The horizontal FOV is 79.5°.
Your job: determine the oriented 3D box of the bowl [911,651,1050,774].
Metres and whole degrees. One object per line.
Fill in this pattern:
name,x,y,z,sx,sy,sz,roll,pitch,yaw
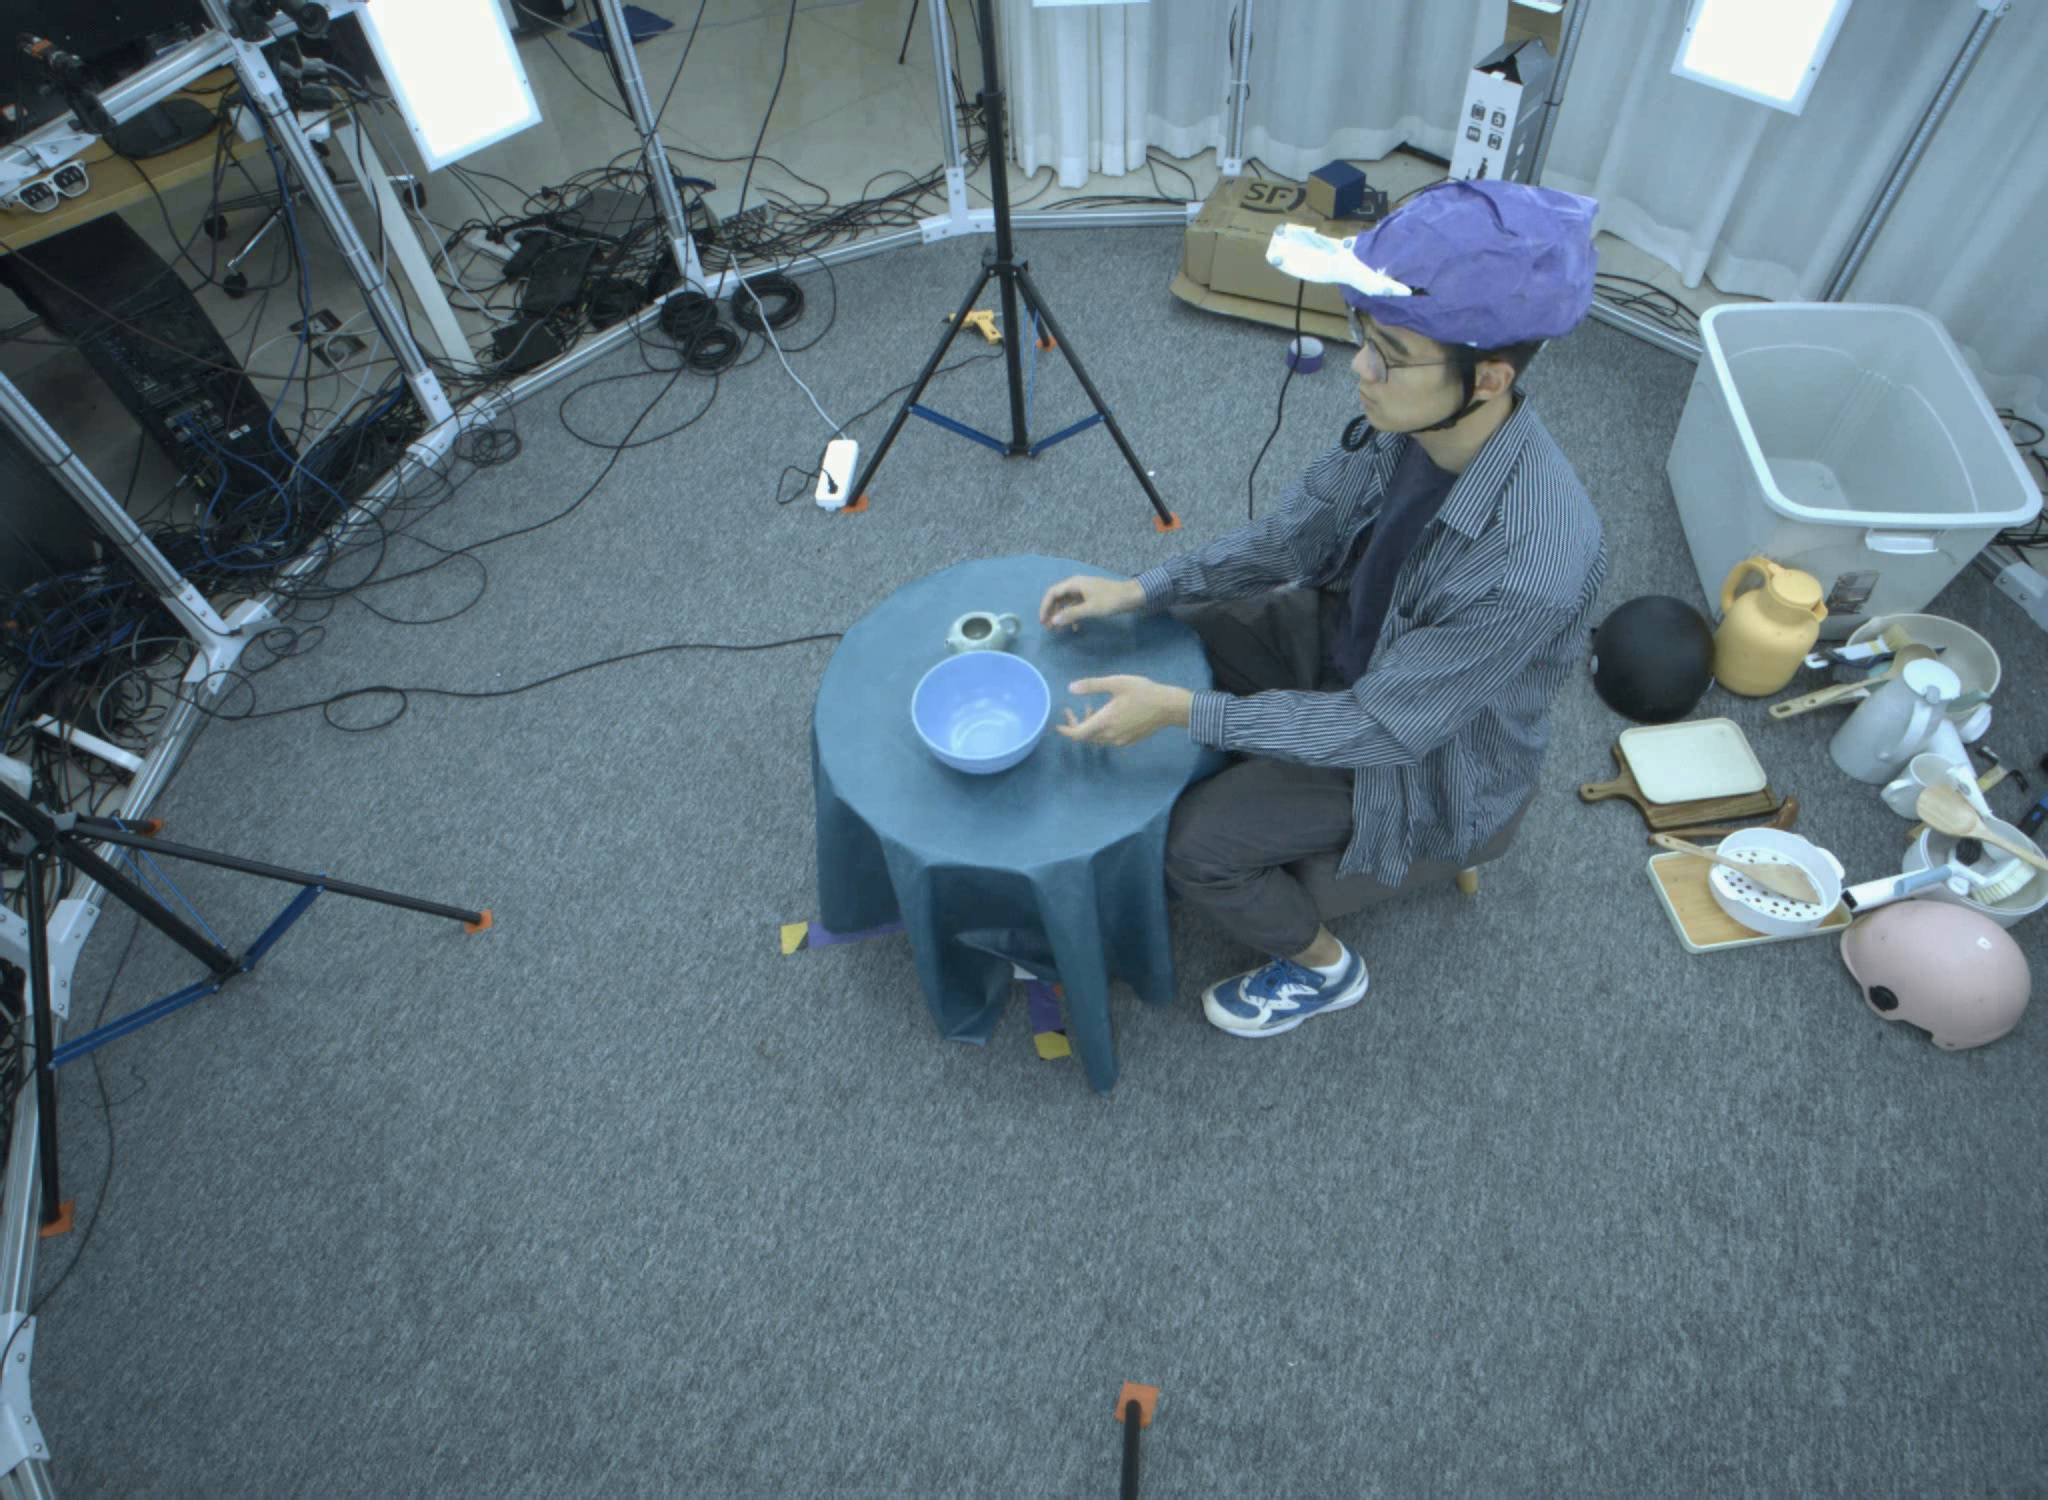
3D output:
bowl,-0.059,-0.039,1.765,0.196,0.096,0.194,0,54,2

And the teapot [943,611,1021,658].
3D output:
teapot,-0.063,-0.173,1.881,0.129,0.061,0.090,-22,54,-14
